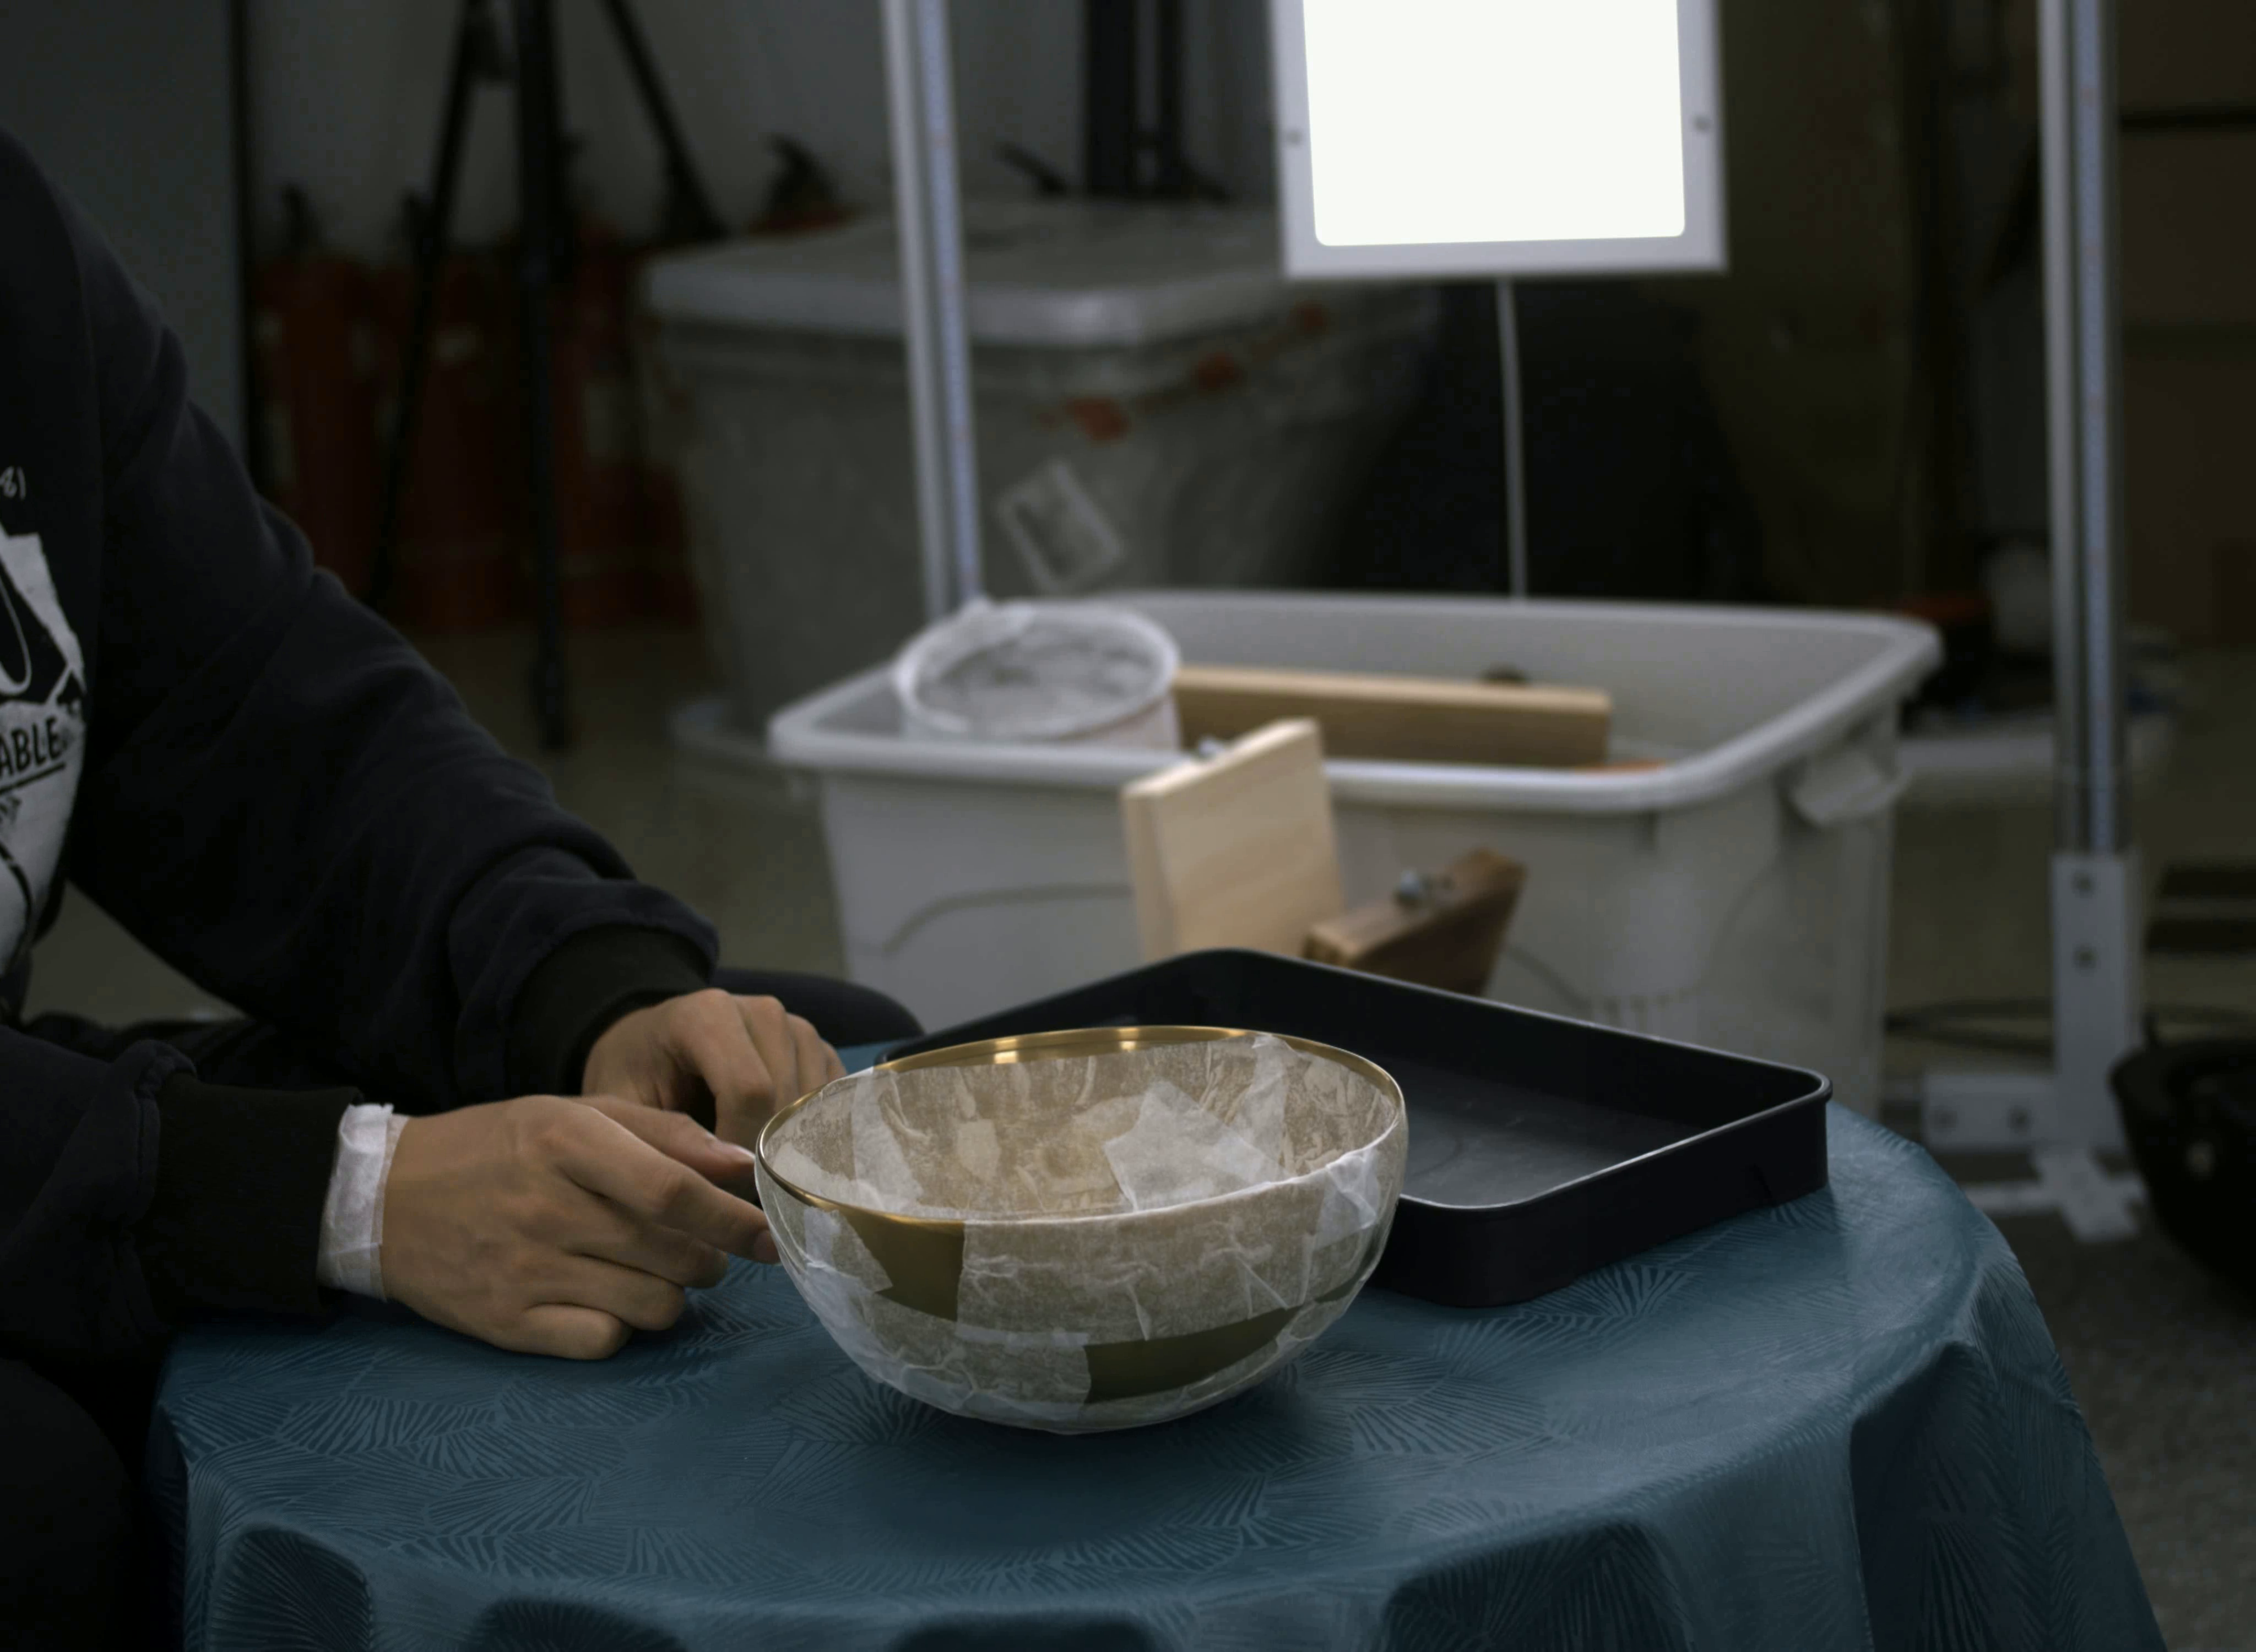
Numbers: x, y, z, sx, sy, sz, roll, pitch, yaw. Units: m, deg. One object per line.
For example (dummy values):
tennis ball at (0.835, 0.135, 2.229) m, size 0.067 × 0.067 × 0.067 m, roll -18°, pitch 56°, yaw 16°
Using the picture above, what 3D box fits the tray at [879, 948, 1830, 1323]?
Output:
tray at (0.074, 0.102, 1.905) m, size 0.179 × 0.037 × 0.324 m, roll -14°, pitch 18°, yaw -37°

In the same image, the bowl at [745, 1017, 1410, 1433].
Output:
bowl at (-0.011, 0.130, 1.693) m, size 0.214 × 0.095 × 0.214 m, roll -6°, pitch 15°, yaw 0°
